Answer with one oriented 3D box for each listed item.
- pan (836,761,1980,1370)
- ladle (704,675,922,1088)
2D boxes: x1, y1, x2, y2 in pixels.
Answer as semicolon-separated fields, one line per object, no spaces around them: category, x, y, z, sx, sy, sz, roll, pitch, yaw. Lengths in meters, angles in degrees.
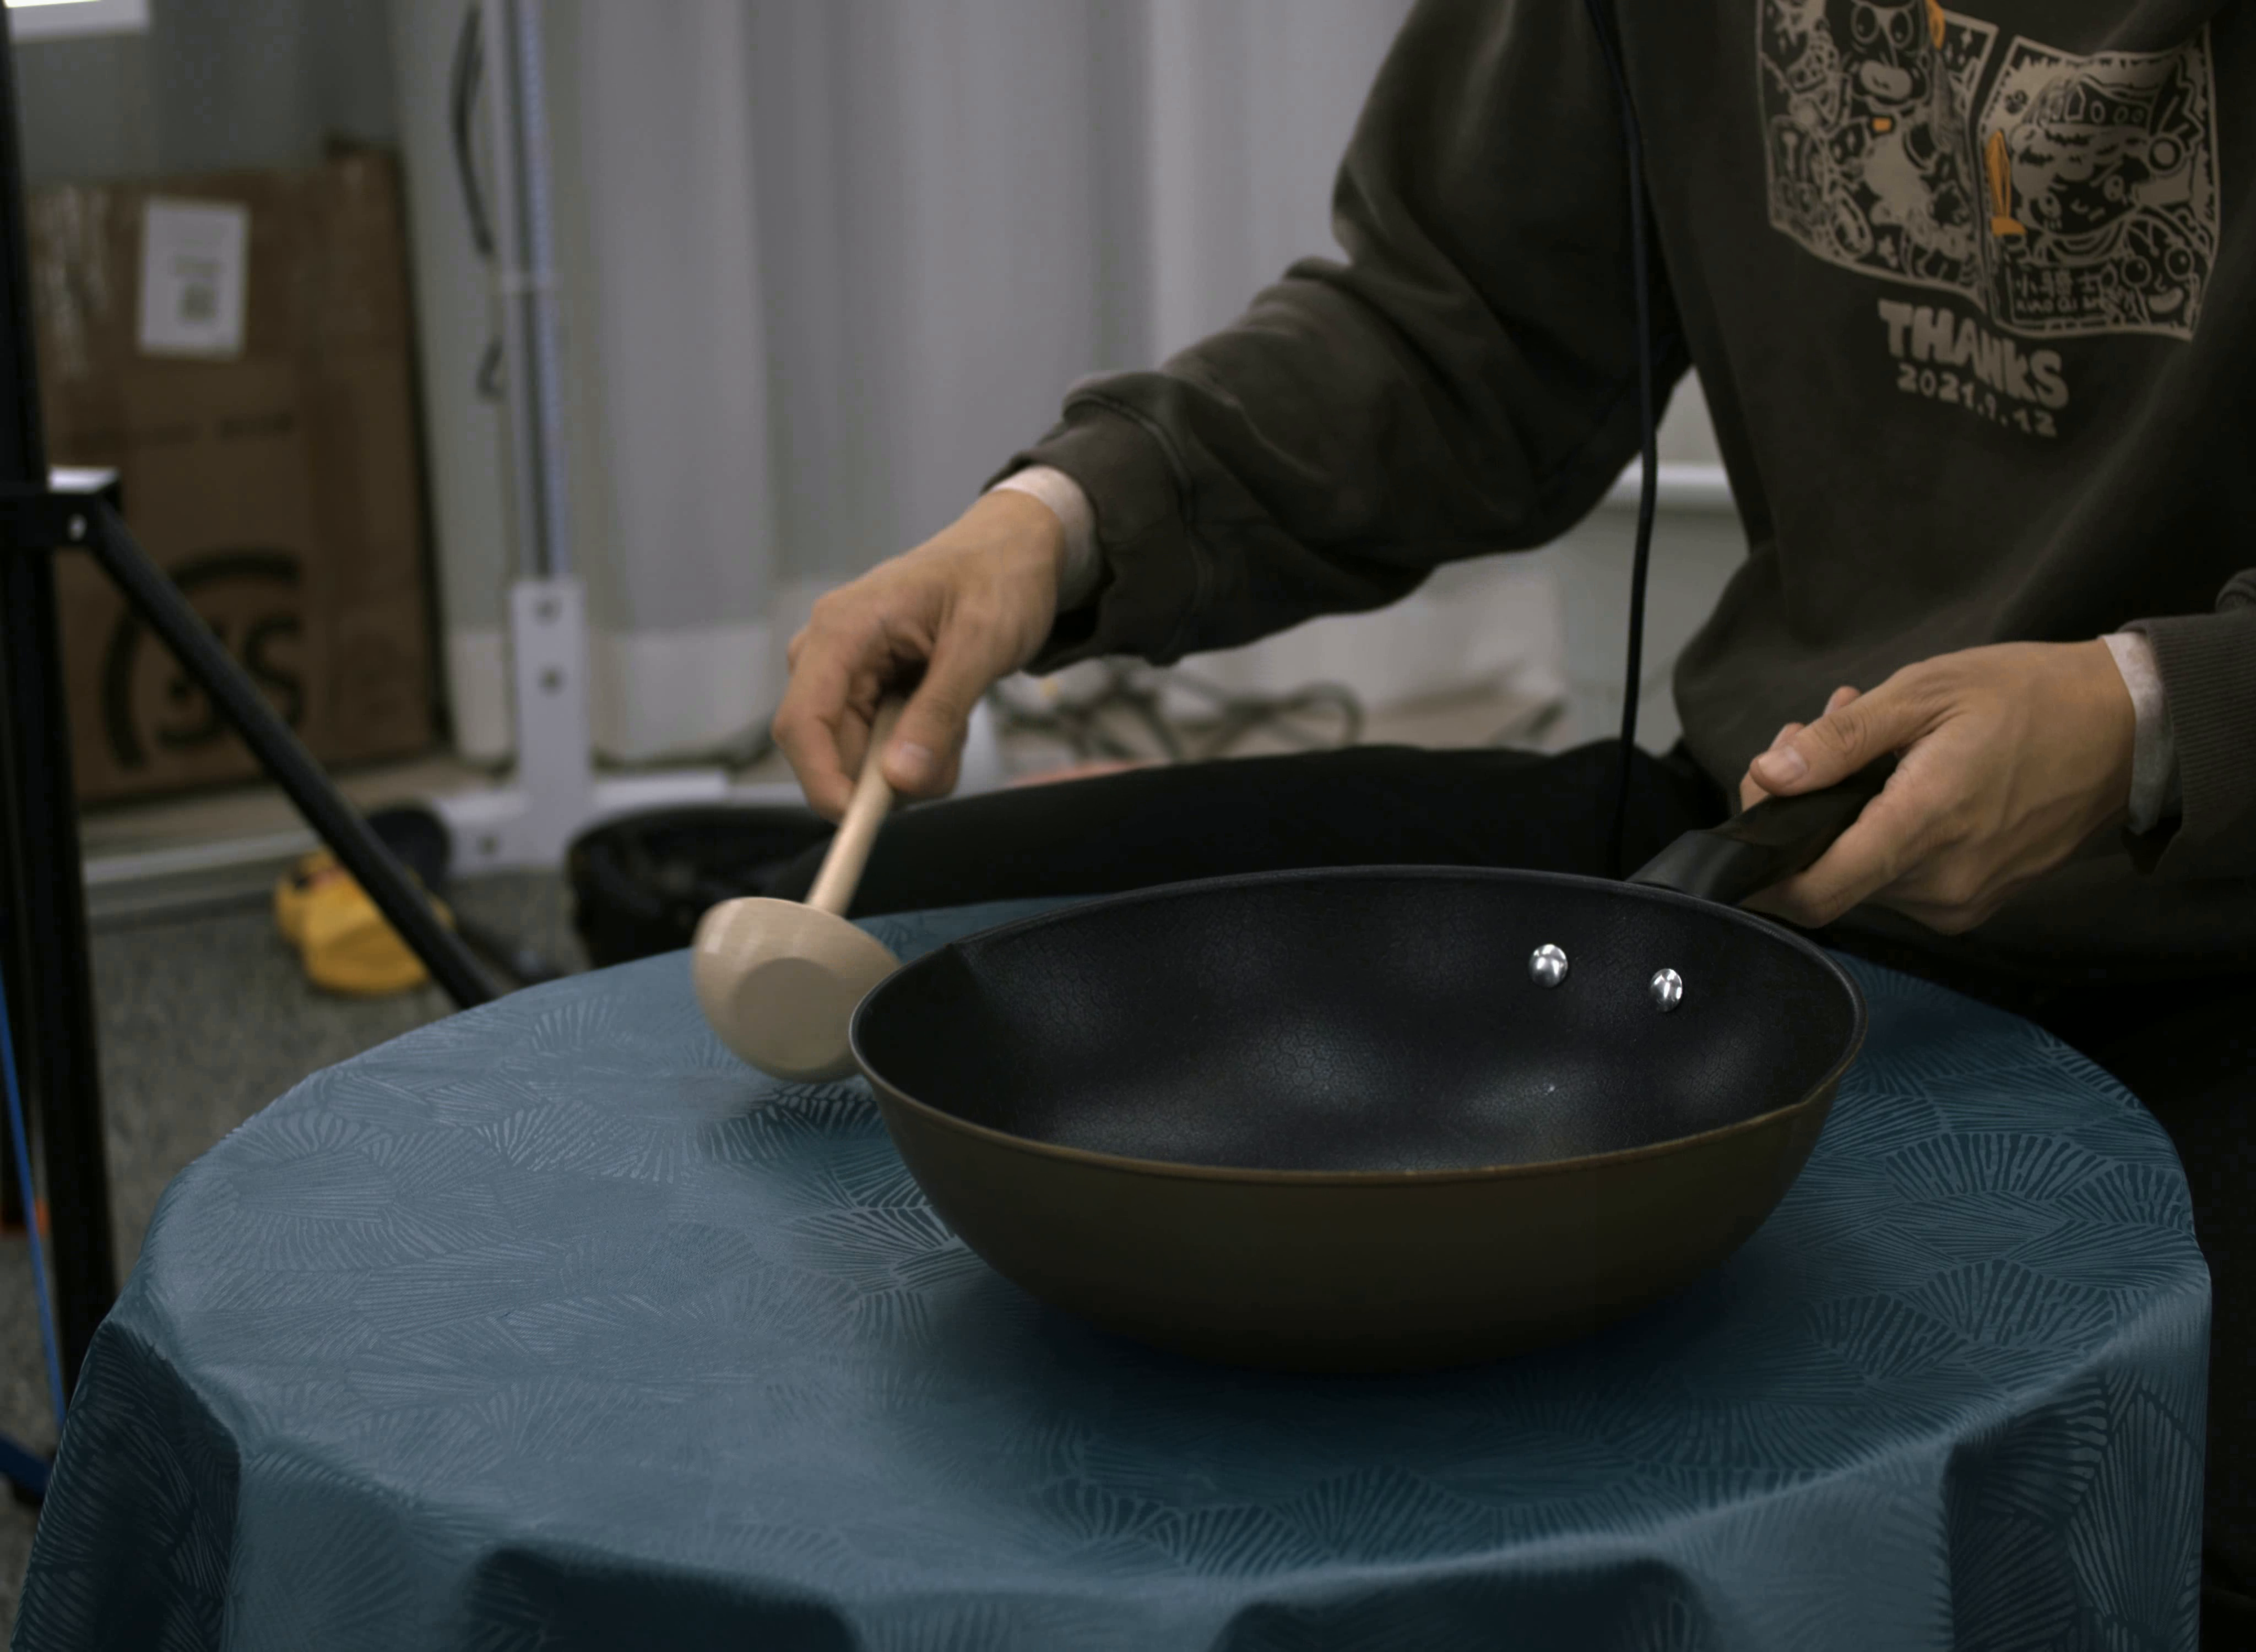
pan;0.117;0.066;1.539;0.294;0.087;0.453;10;19;38
ladle;-0.082;-0.007;1.727;0.071;0.073;0.255;23;34;-6
